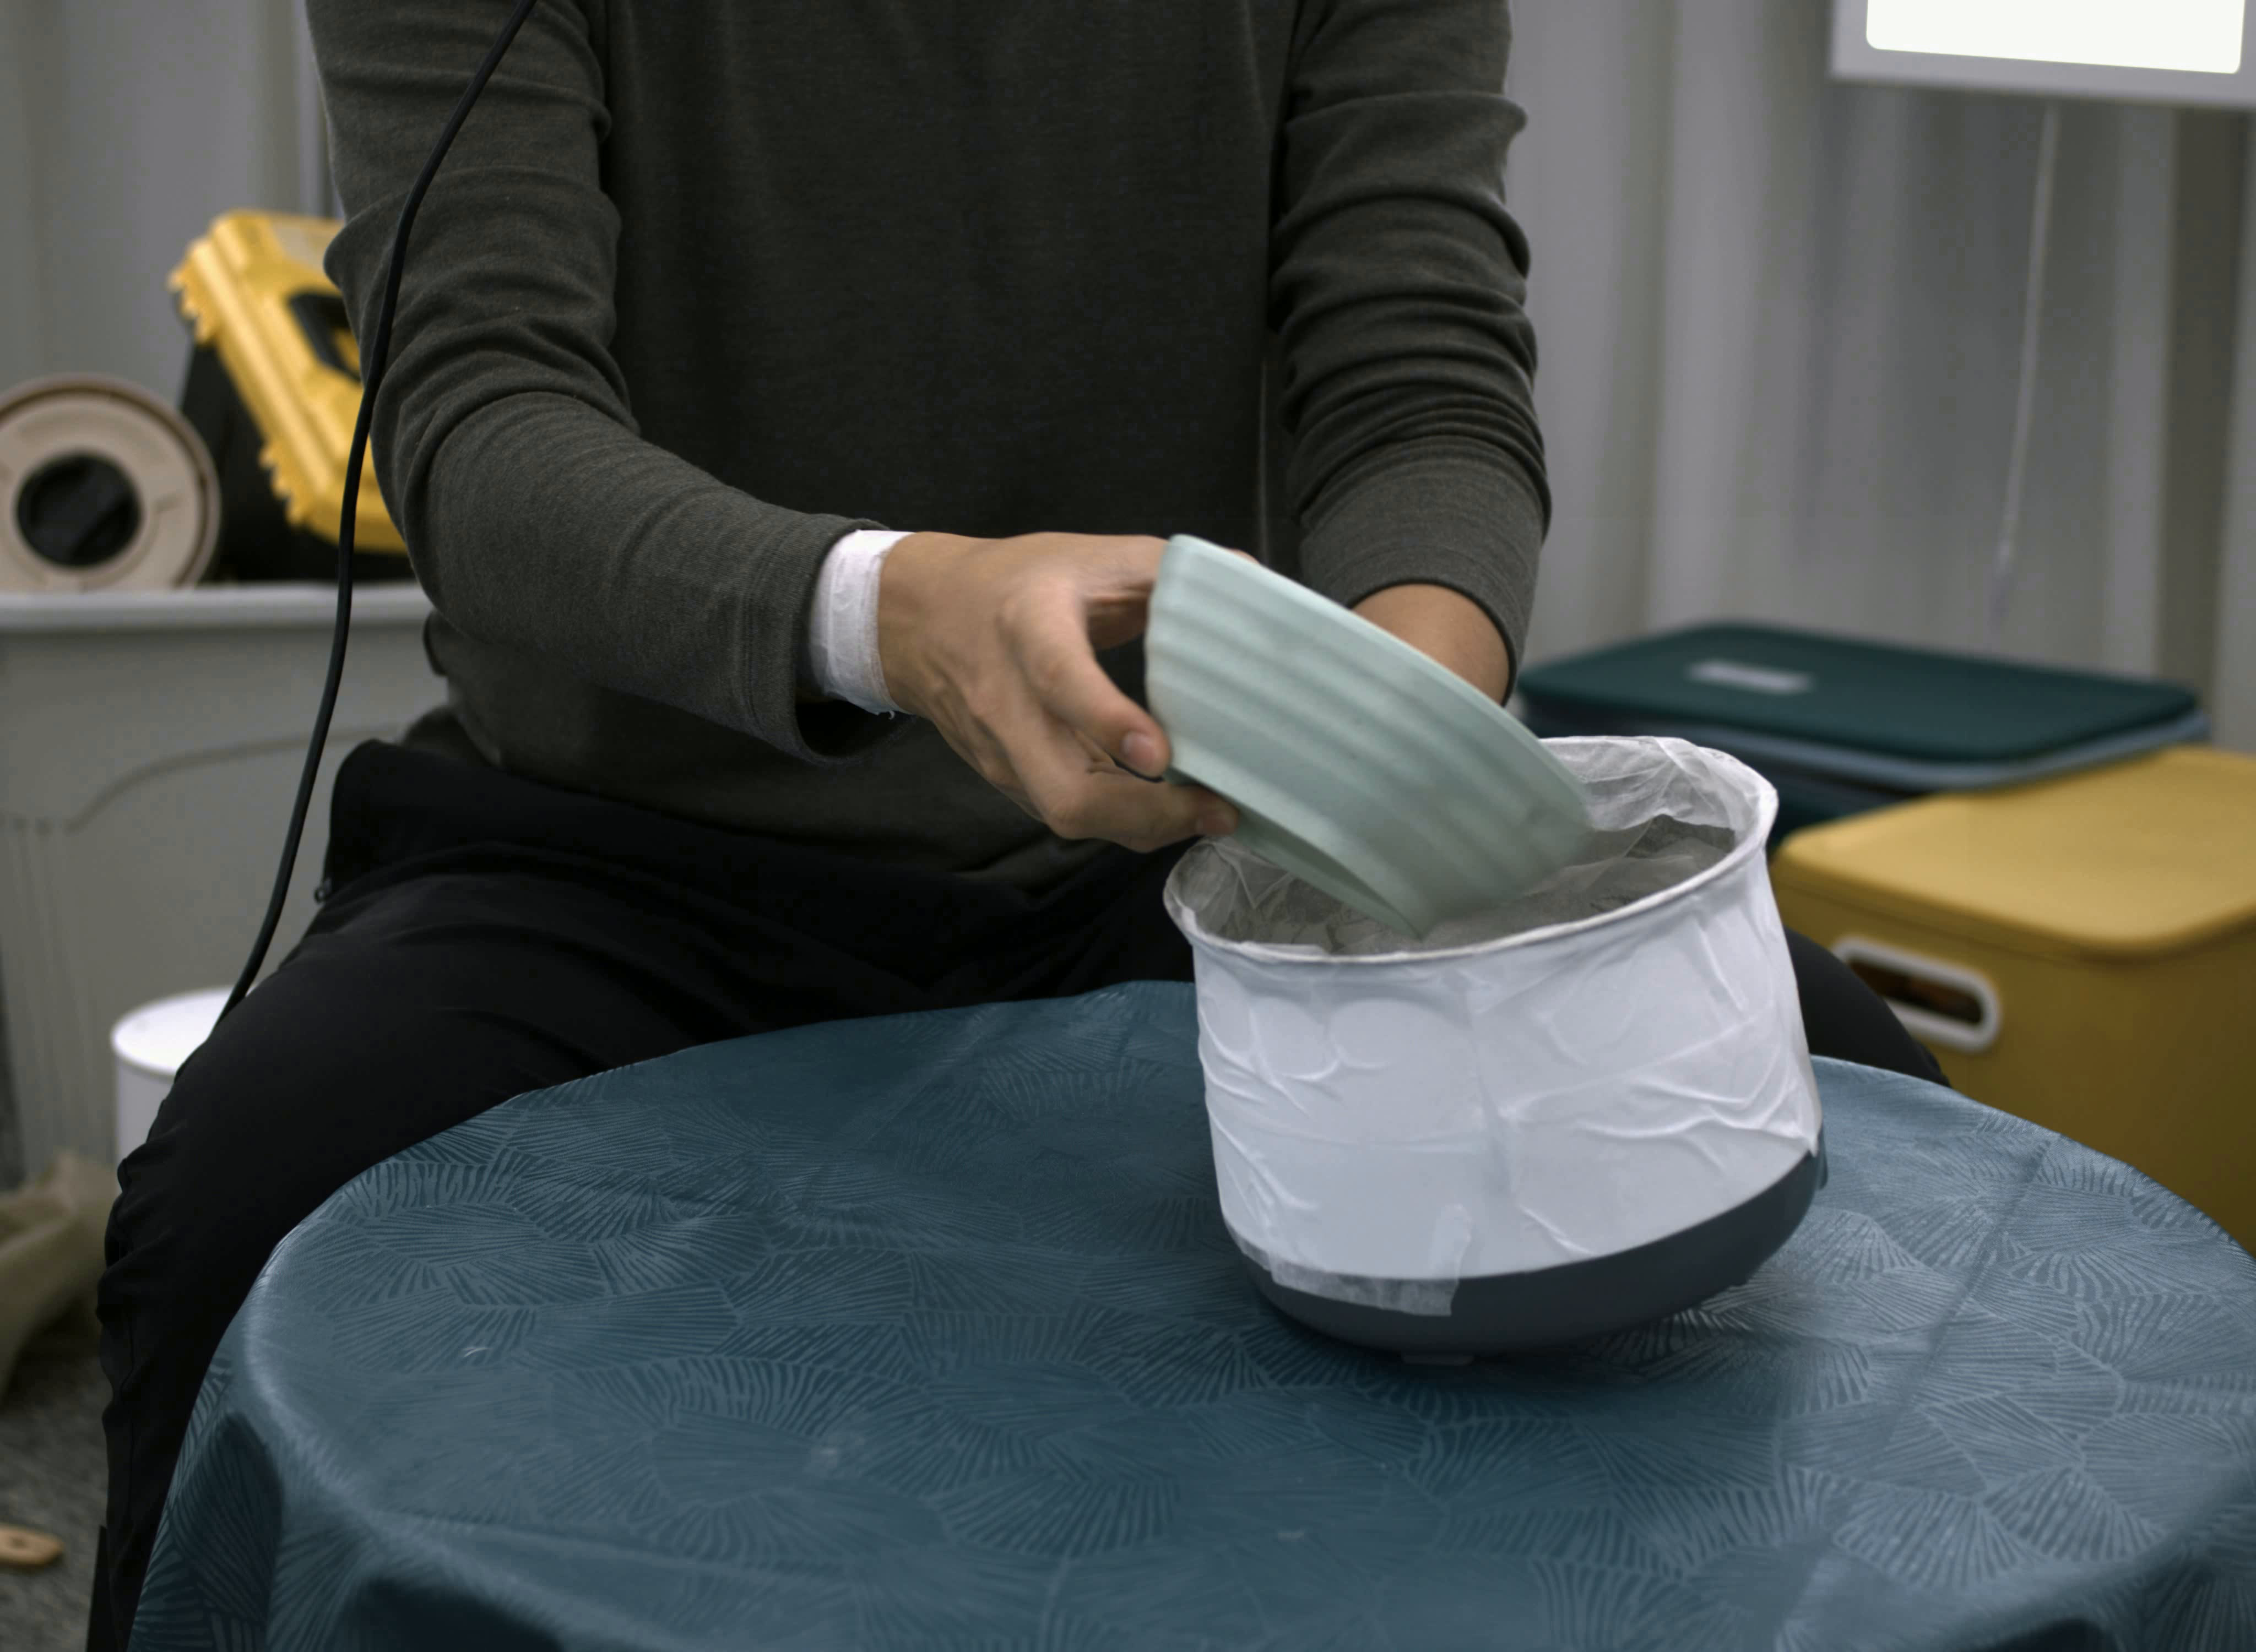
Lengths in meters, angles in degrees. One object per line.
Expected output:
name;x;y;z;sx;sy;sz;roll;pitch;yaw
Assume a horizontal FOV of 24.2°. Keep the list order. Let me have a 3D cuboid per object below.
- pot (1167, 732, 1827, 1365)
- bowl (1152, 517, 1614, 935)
pot;0.099;0.056;1.540;0.179;0.138;0.231;-14;19;-14
bowl;0.061;-0.020;1.485;0.151;0.058;0.151;36;-1;2
